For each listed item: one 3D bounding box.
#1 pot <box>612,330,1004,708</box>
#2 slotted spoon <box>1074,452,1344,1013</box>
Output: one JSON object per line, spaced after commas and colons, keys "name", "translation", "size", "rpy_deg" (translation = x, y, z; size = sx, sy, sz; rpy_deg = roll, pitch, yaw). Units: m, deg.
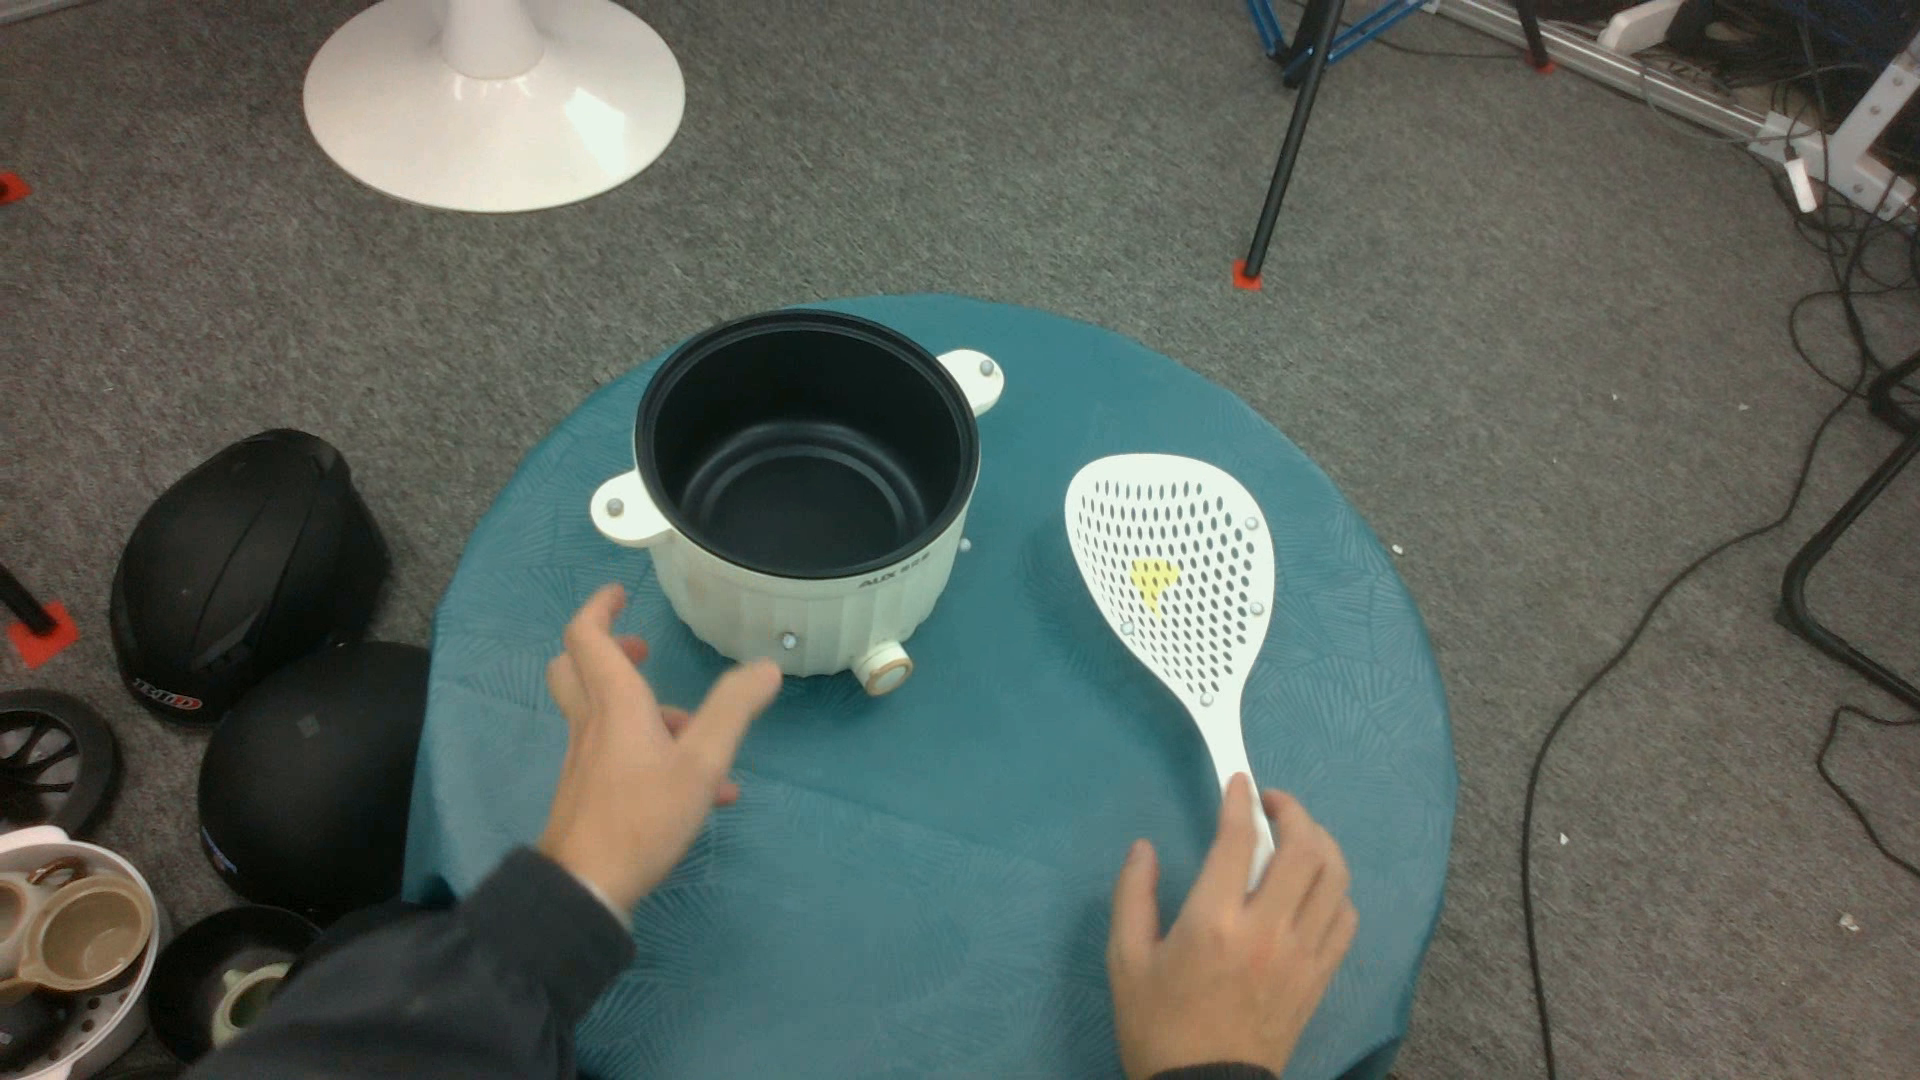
{"name": "pot", "translation": [-0.077, -0.004, 0.791], "size": [0.241, 0.142, 0.191], "rpy_deg": [-28, 59, -22]}
{"name": "slotted spoon", "translation": [0.156, 0.096, 0.803], "size": [0.137, 0.050, 0.349], "rpy_deg": [-3, 54, -16]}
